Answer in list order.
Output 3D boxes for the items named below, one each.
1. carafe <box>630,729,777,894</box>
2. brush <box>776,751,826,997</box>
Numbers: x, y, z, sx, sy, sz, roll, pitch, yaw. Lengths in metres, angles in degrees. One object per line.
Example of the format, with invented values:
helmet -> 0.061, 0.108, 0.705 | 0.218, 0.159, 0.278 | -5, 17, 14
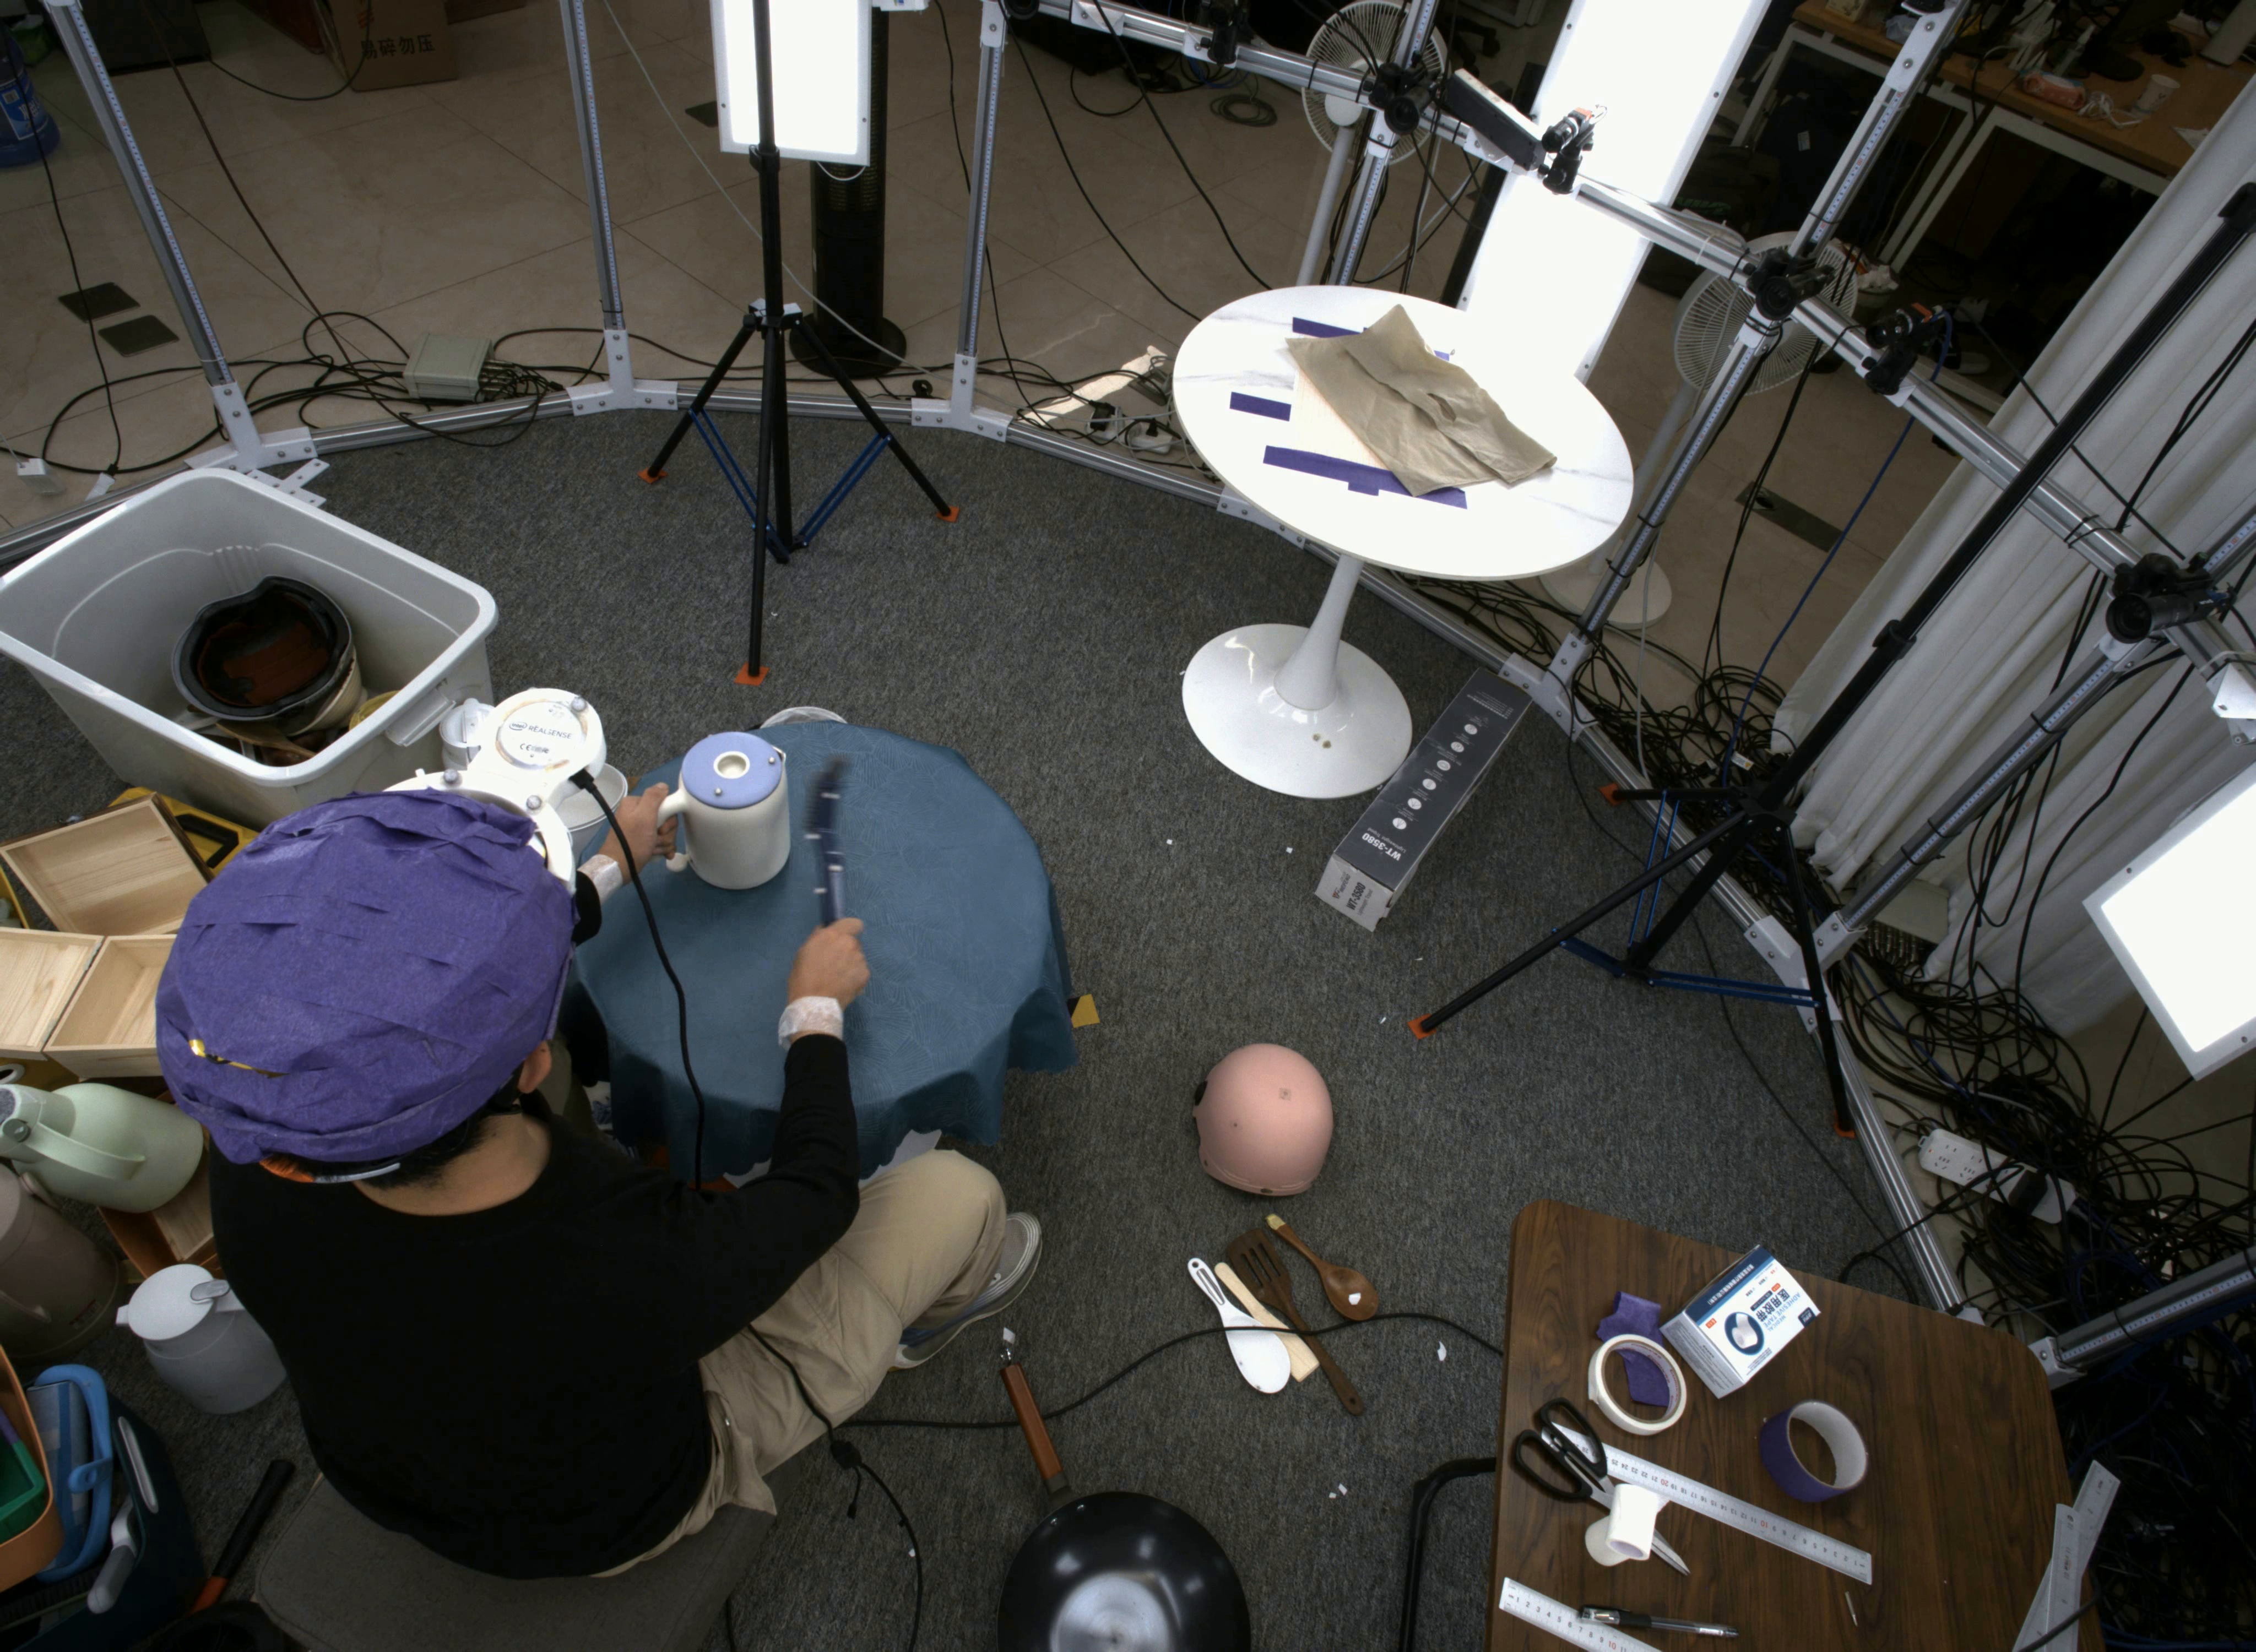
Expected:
carafe -> -0.525, -0.009, 1.587 | 0.192, 0.186, 0.129 | -27, 62, -28
brush -> -0.373, 0.056, 1.518 | 0.034, 0.093, 0.274 | -3, 79, -53
